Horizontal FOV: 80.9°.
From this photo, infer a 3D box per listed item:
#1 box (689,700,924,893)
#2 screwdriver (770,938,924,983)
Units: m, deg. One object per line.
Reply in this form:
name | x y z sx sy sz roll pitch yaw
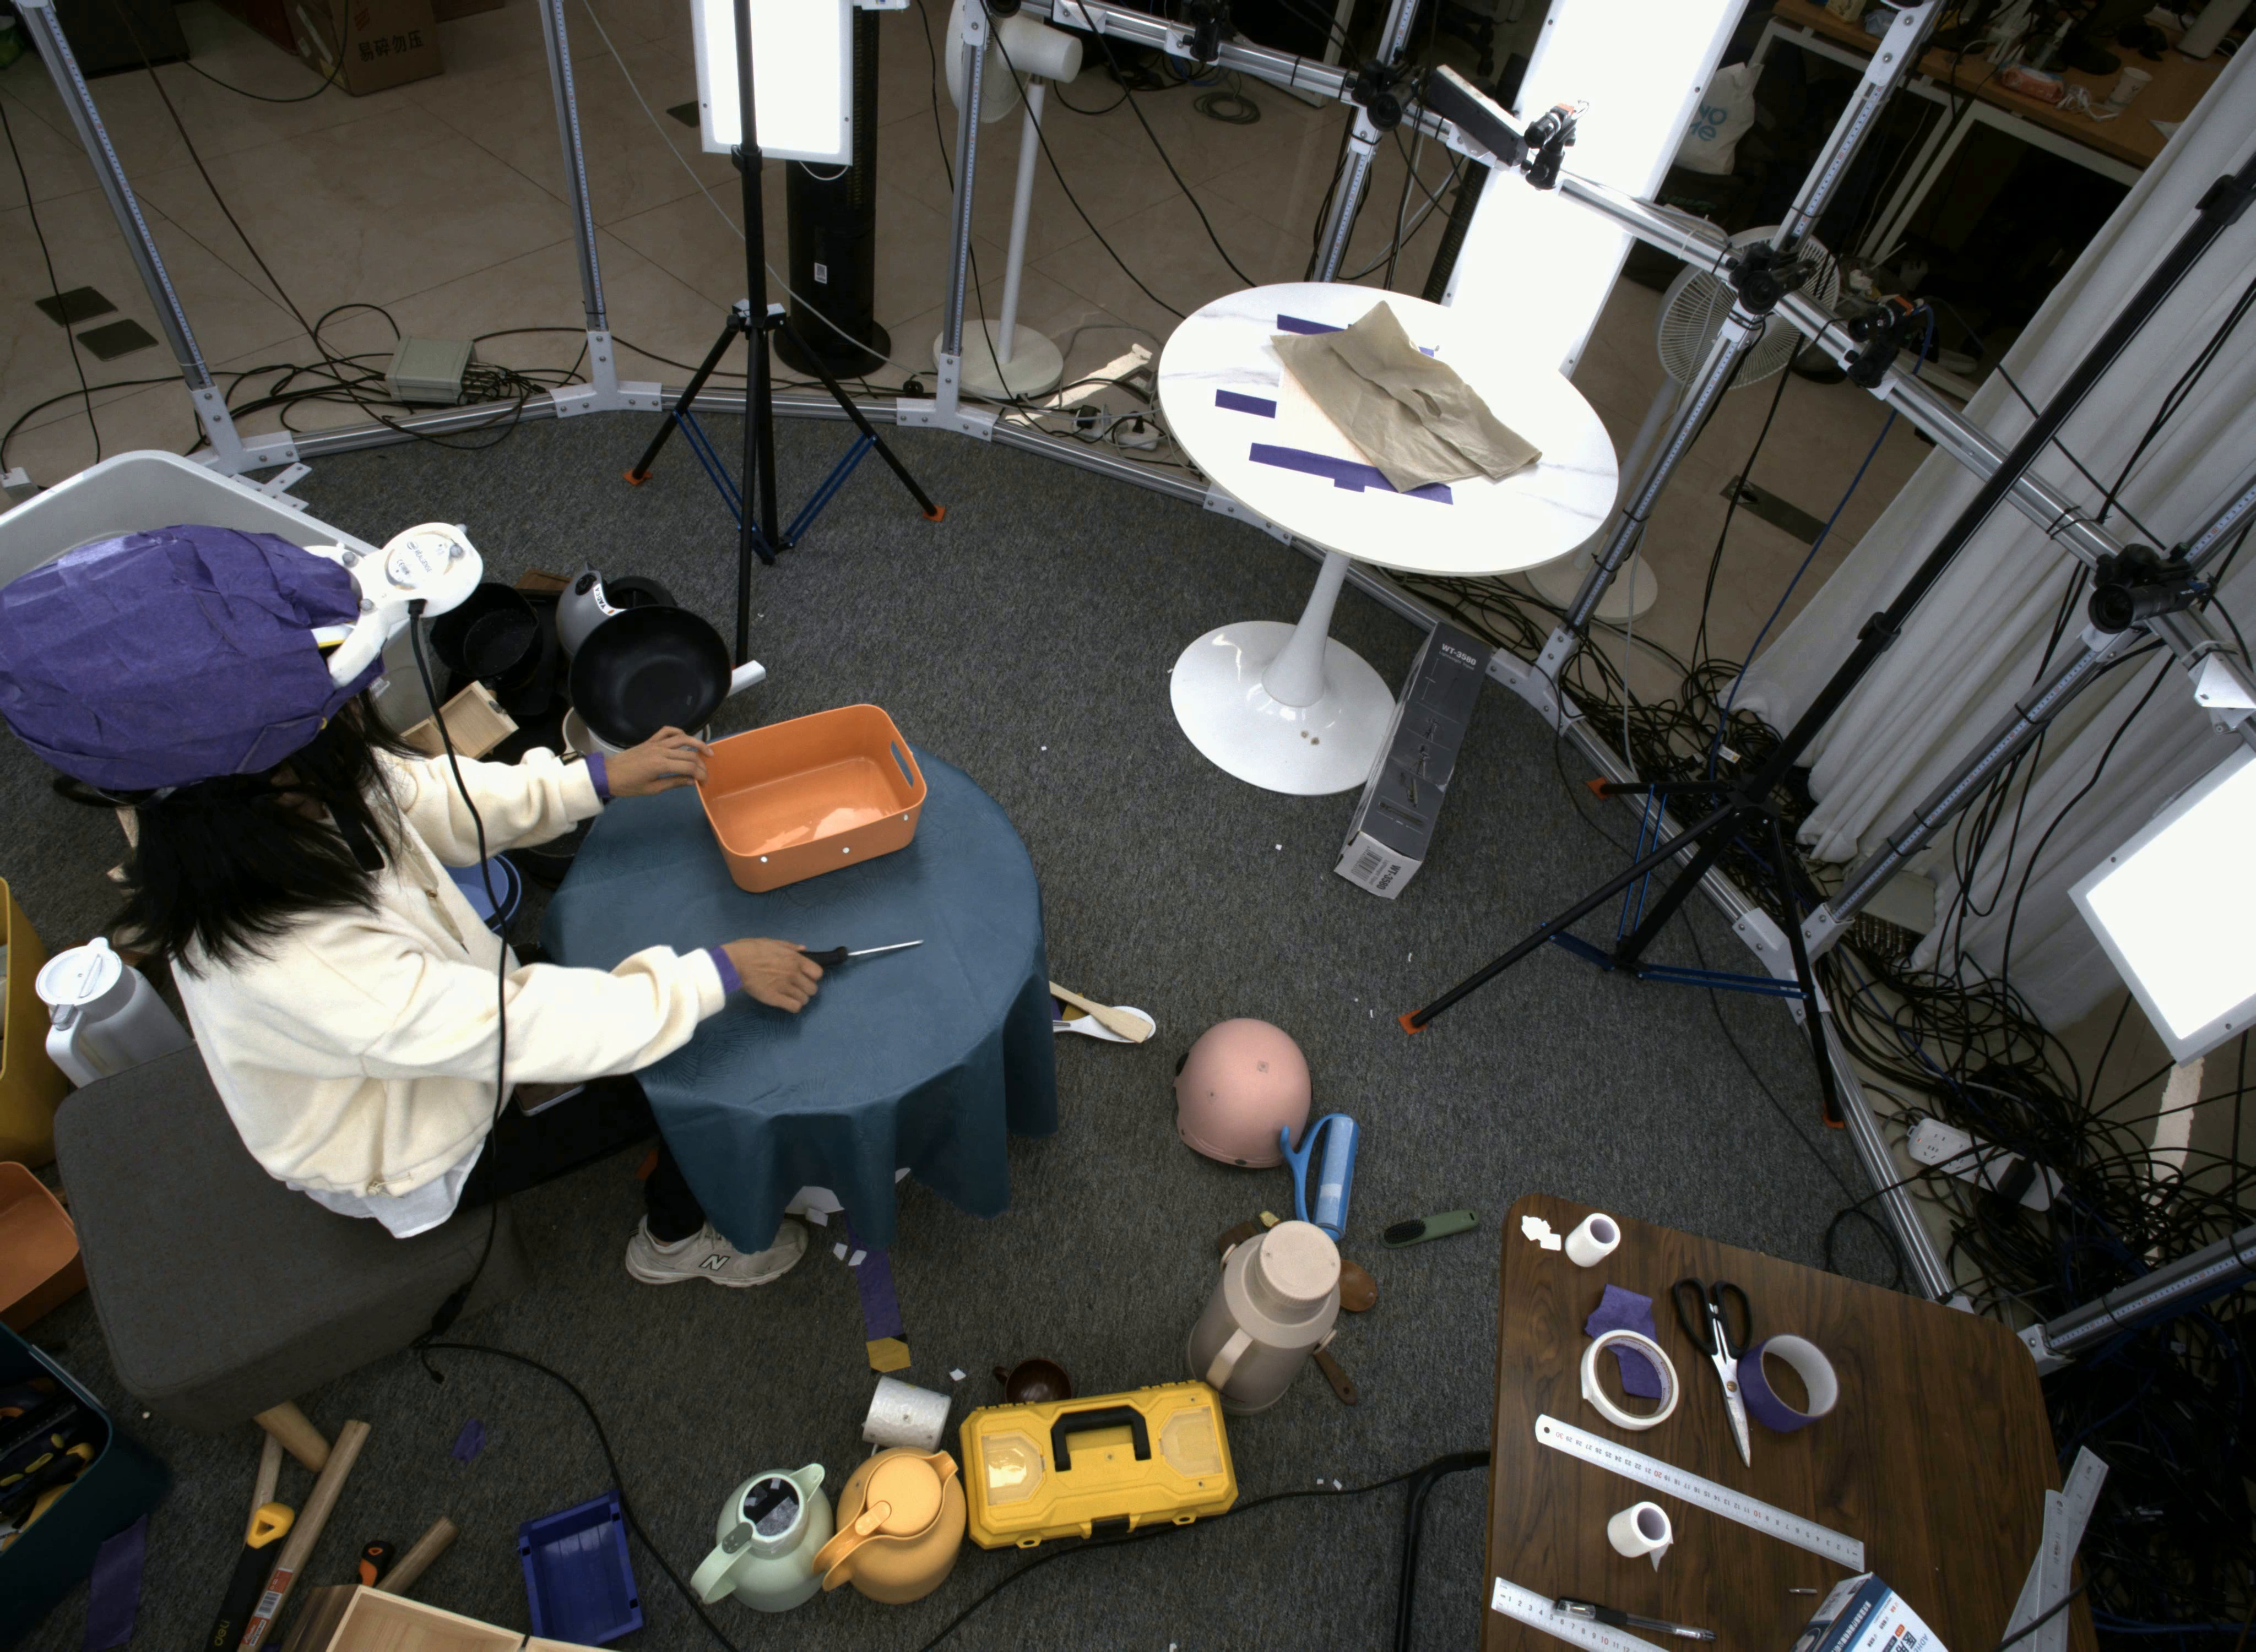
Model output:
box | -0.416 -0.037 1.681 0.275 0.104 0.194 -19 61 -27
screwdriver | -0.345 0.162 1.606 0.198 0.032 0.030 -8 54 -28
